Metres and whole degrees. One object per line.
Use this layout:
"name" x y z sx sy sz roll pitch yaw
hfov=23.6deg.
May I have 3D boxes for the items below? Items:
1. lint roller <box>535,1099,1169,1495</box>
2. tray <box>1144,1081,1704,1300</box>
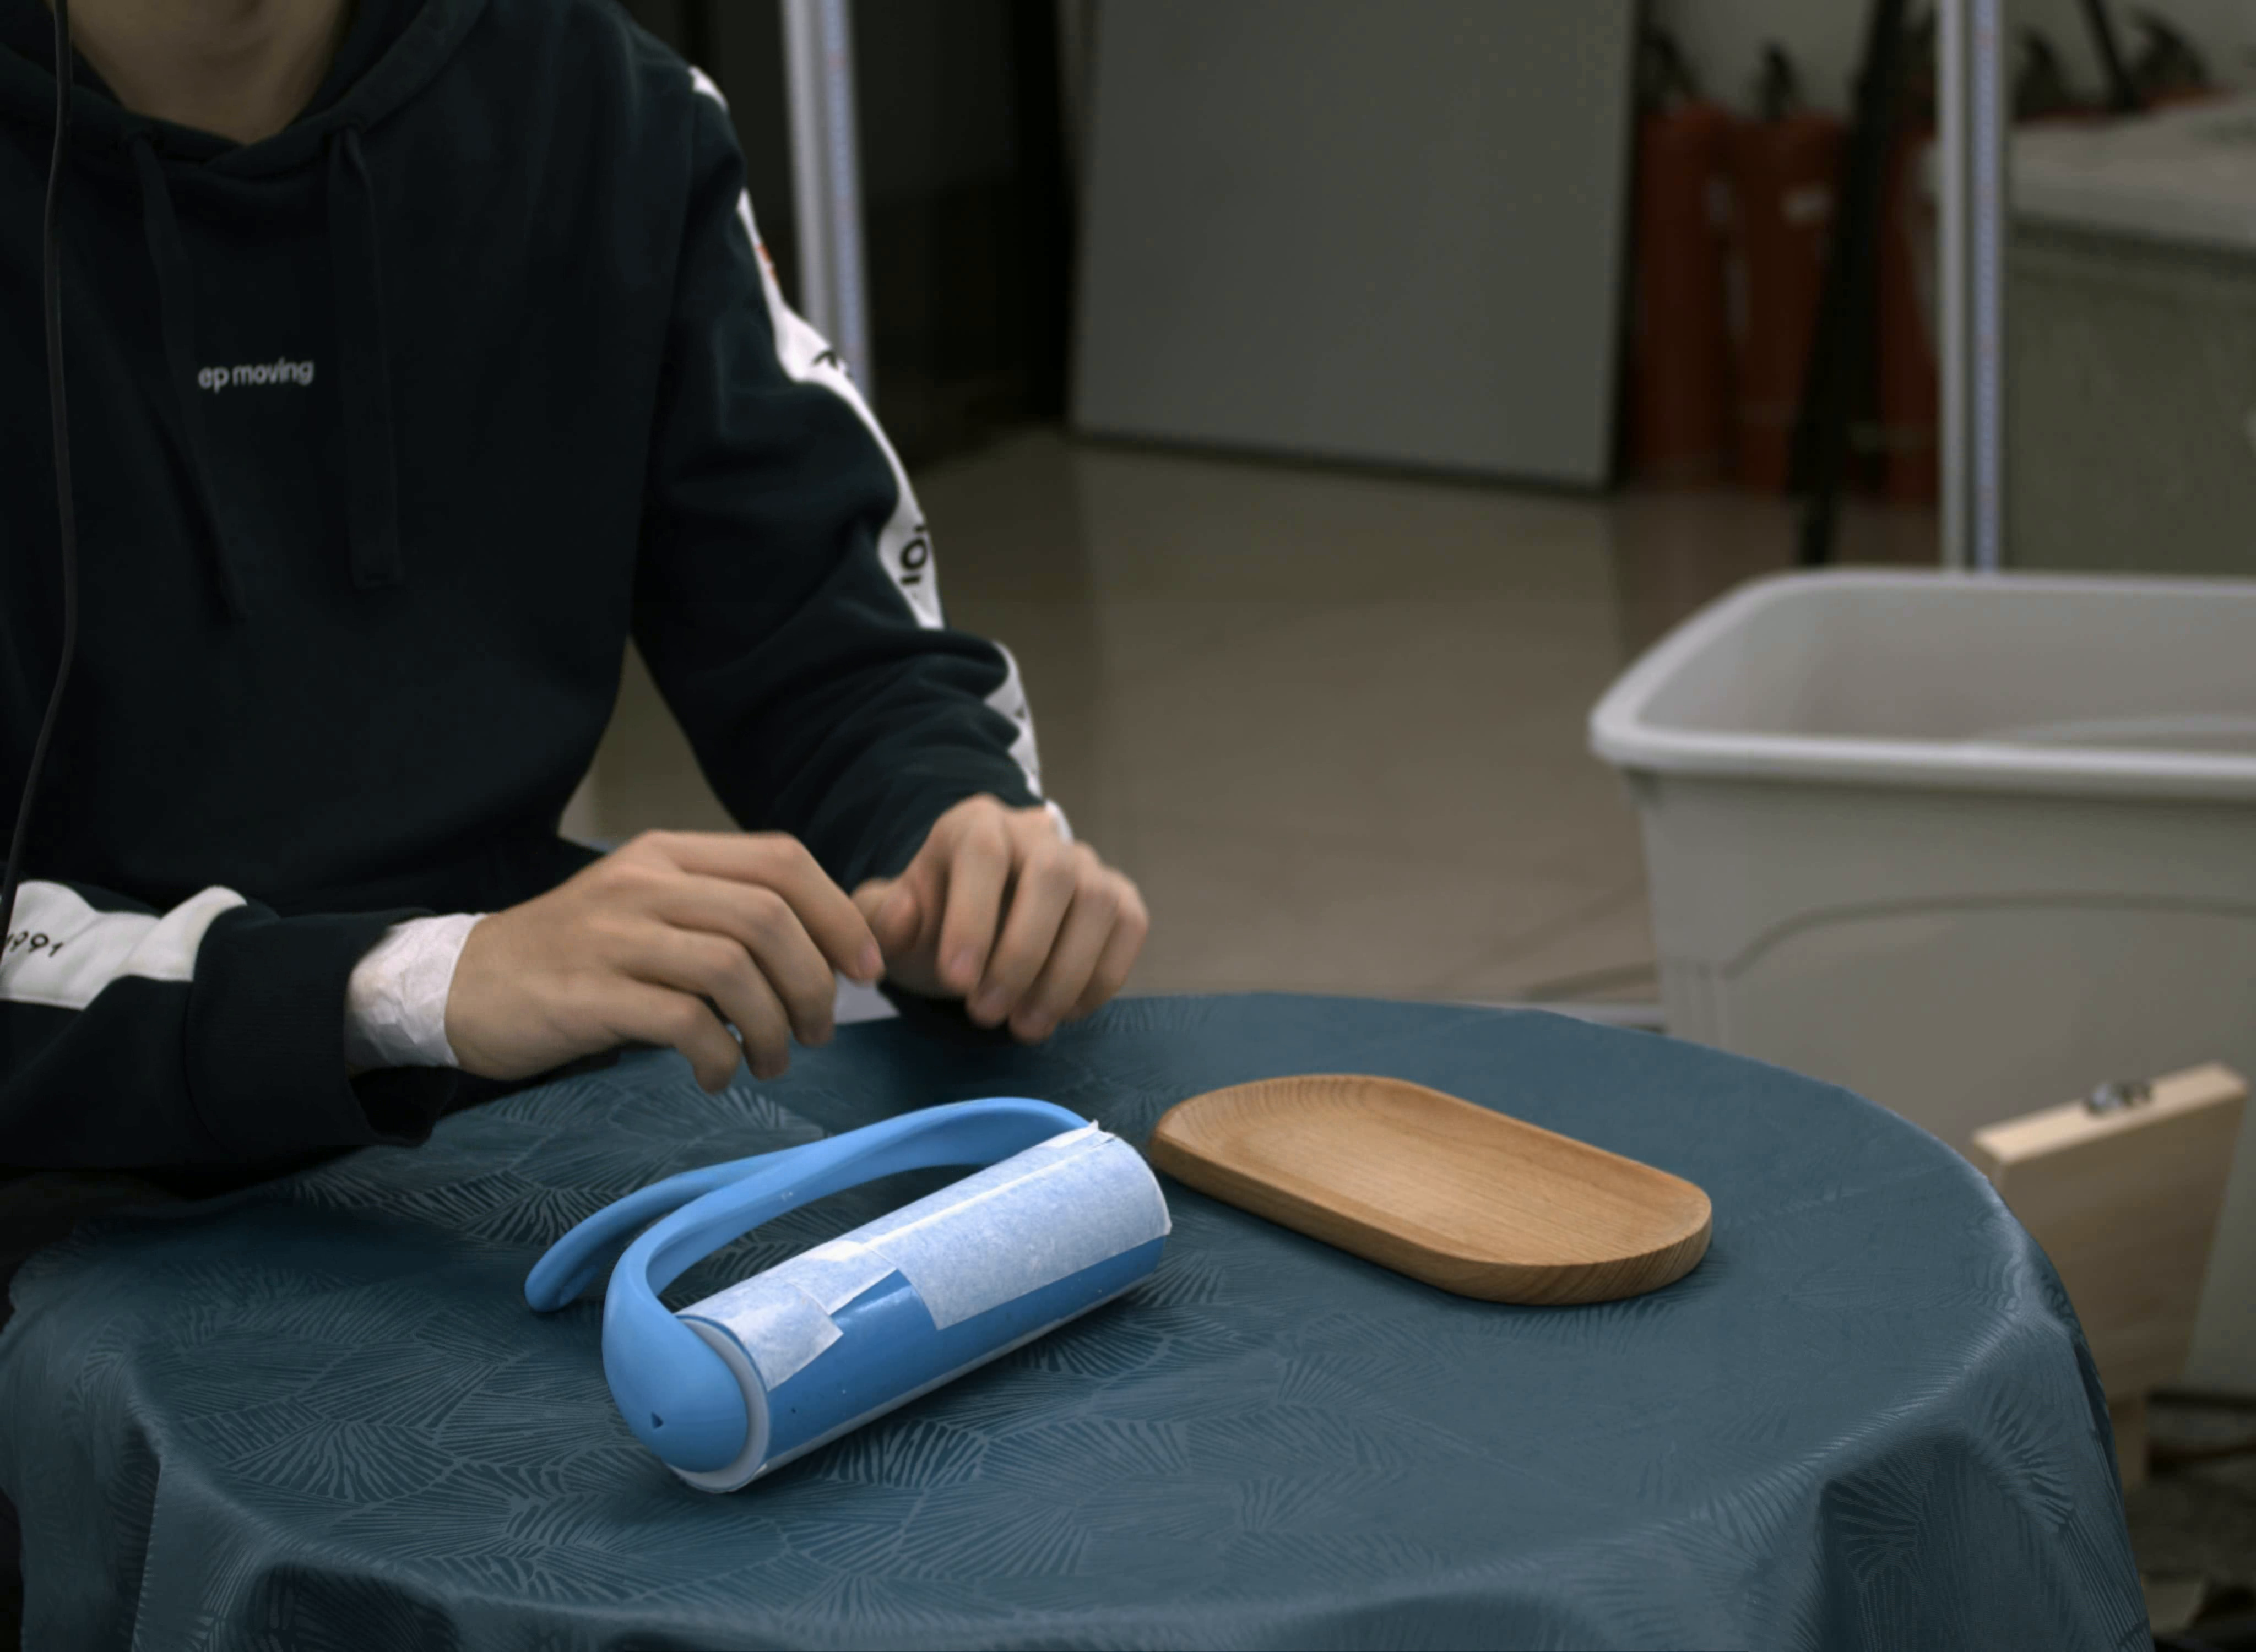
"lint roller" -0.112 0.134 1.630 0.181 0.068 0.225 6 19 34
"tray" 0.093 0.116 1.732 0.099 0.020 0.233 -12 14 -33
